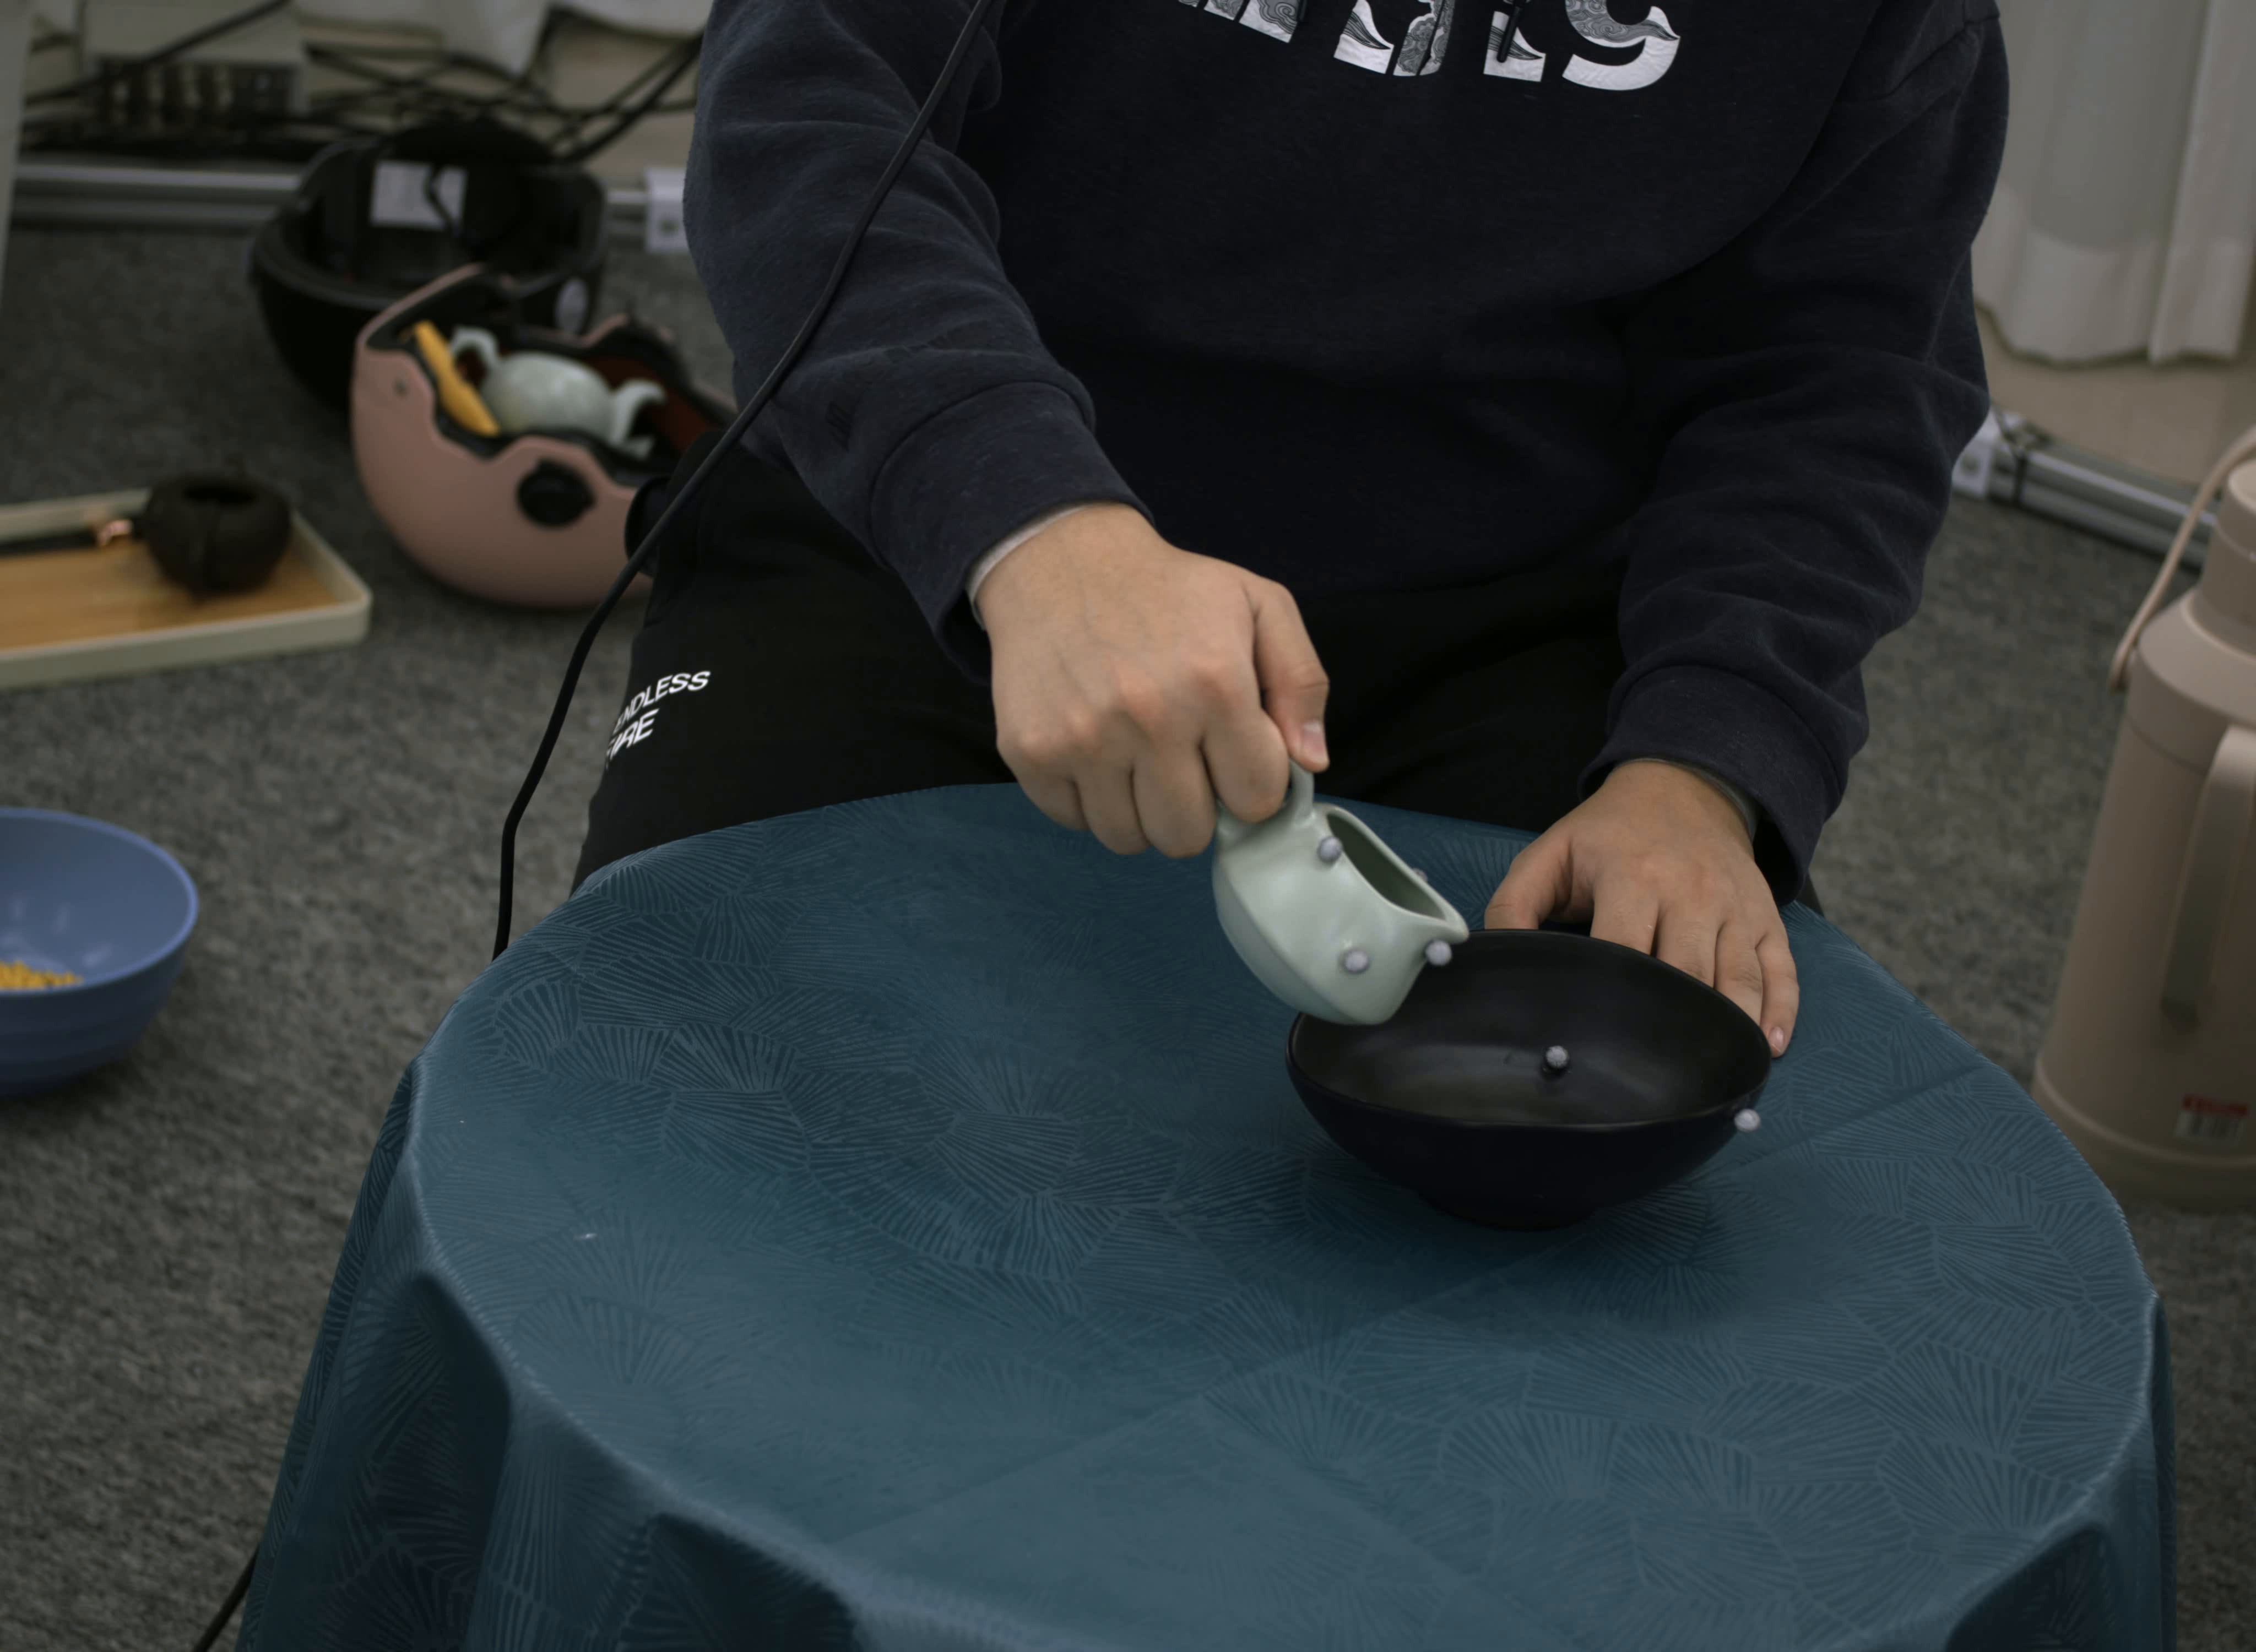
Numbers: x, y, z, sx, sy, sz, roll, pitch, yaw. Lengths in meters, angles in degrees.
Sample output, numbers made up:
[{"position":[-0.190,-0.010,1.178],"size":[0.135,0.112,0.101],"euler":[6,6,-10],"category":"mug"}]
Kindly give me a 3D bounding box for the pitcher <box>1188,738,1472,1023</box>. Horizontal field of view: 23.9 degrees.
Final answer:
[{"position":[0.058,0.018,1.766],"size":[0.107,0.060,0.086],"euler":[40,19,-19],"category":"pitcher"}]

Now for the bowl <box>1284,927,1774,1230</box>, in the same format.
[{"position":[0.136,0.096,1.825],"size":[0.169,0.066,0.138],"euler":[-2,27,-16],"category":"bowl"}]
